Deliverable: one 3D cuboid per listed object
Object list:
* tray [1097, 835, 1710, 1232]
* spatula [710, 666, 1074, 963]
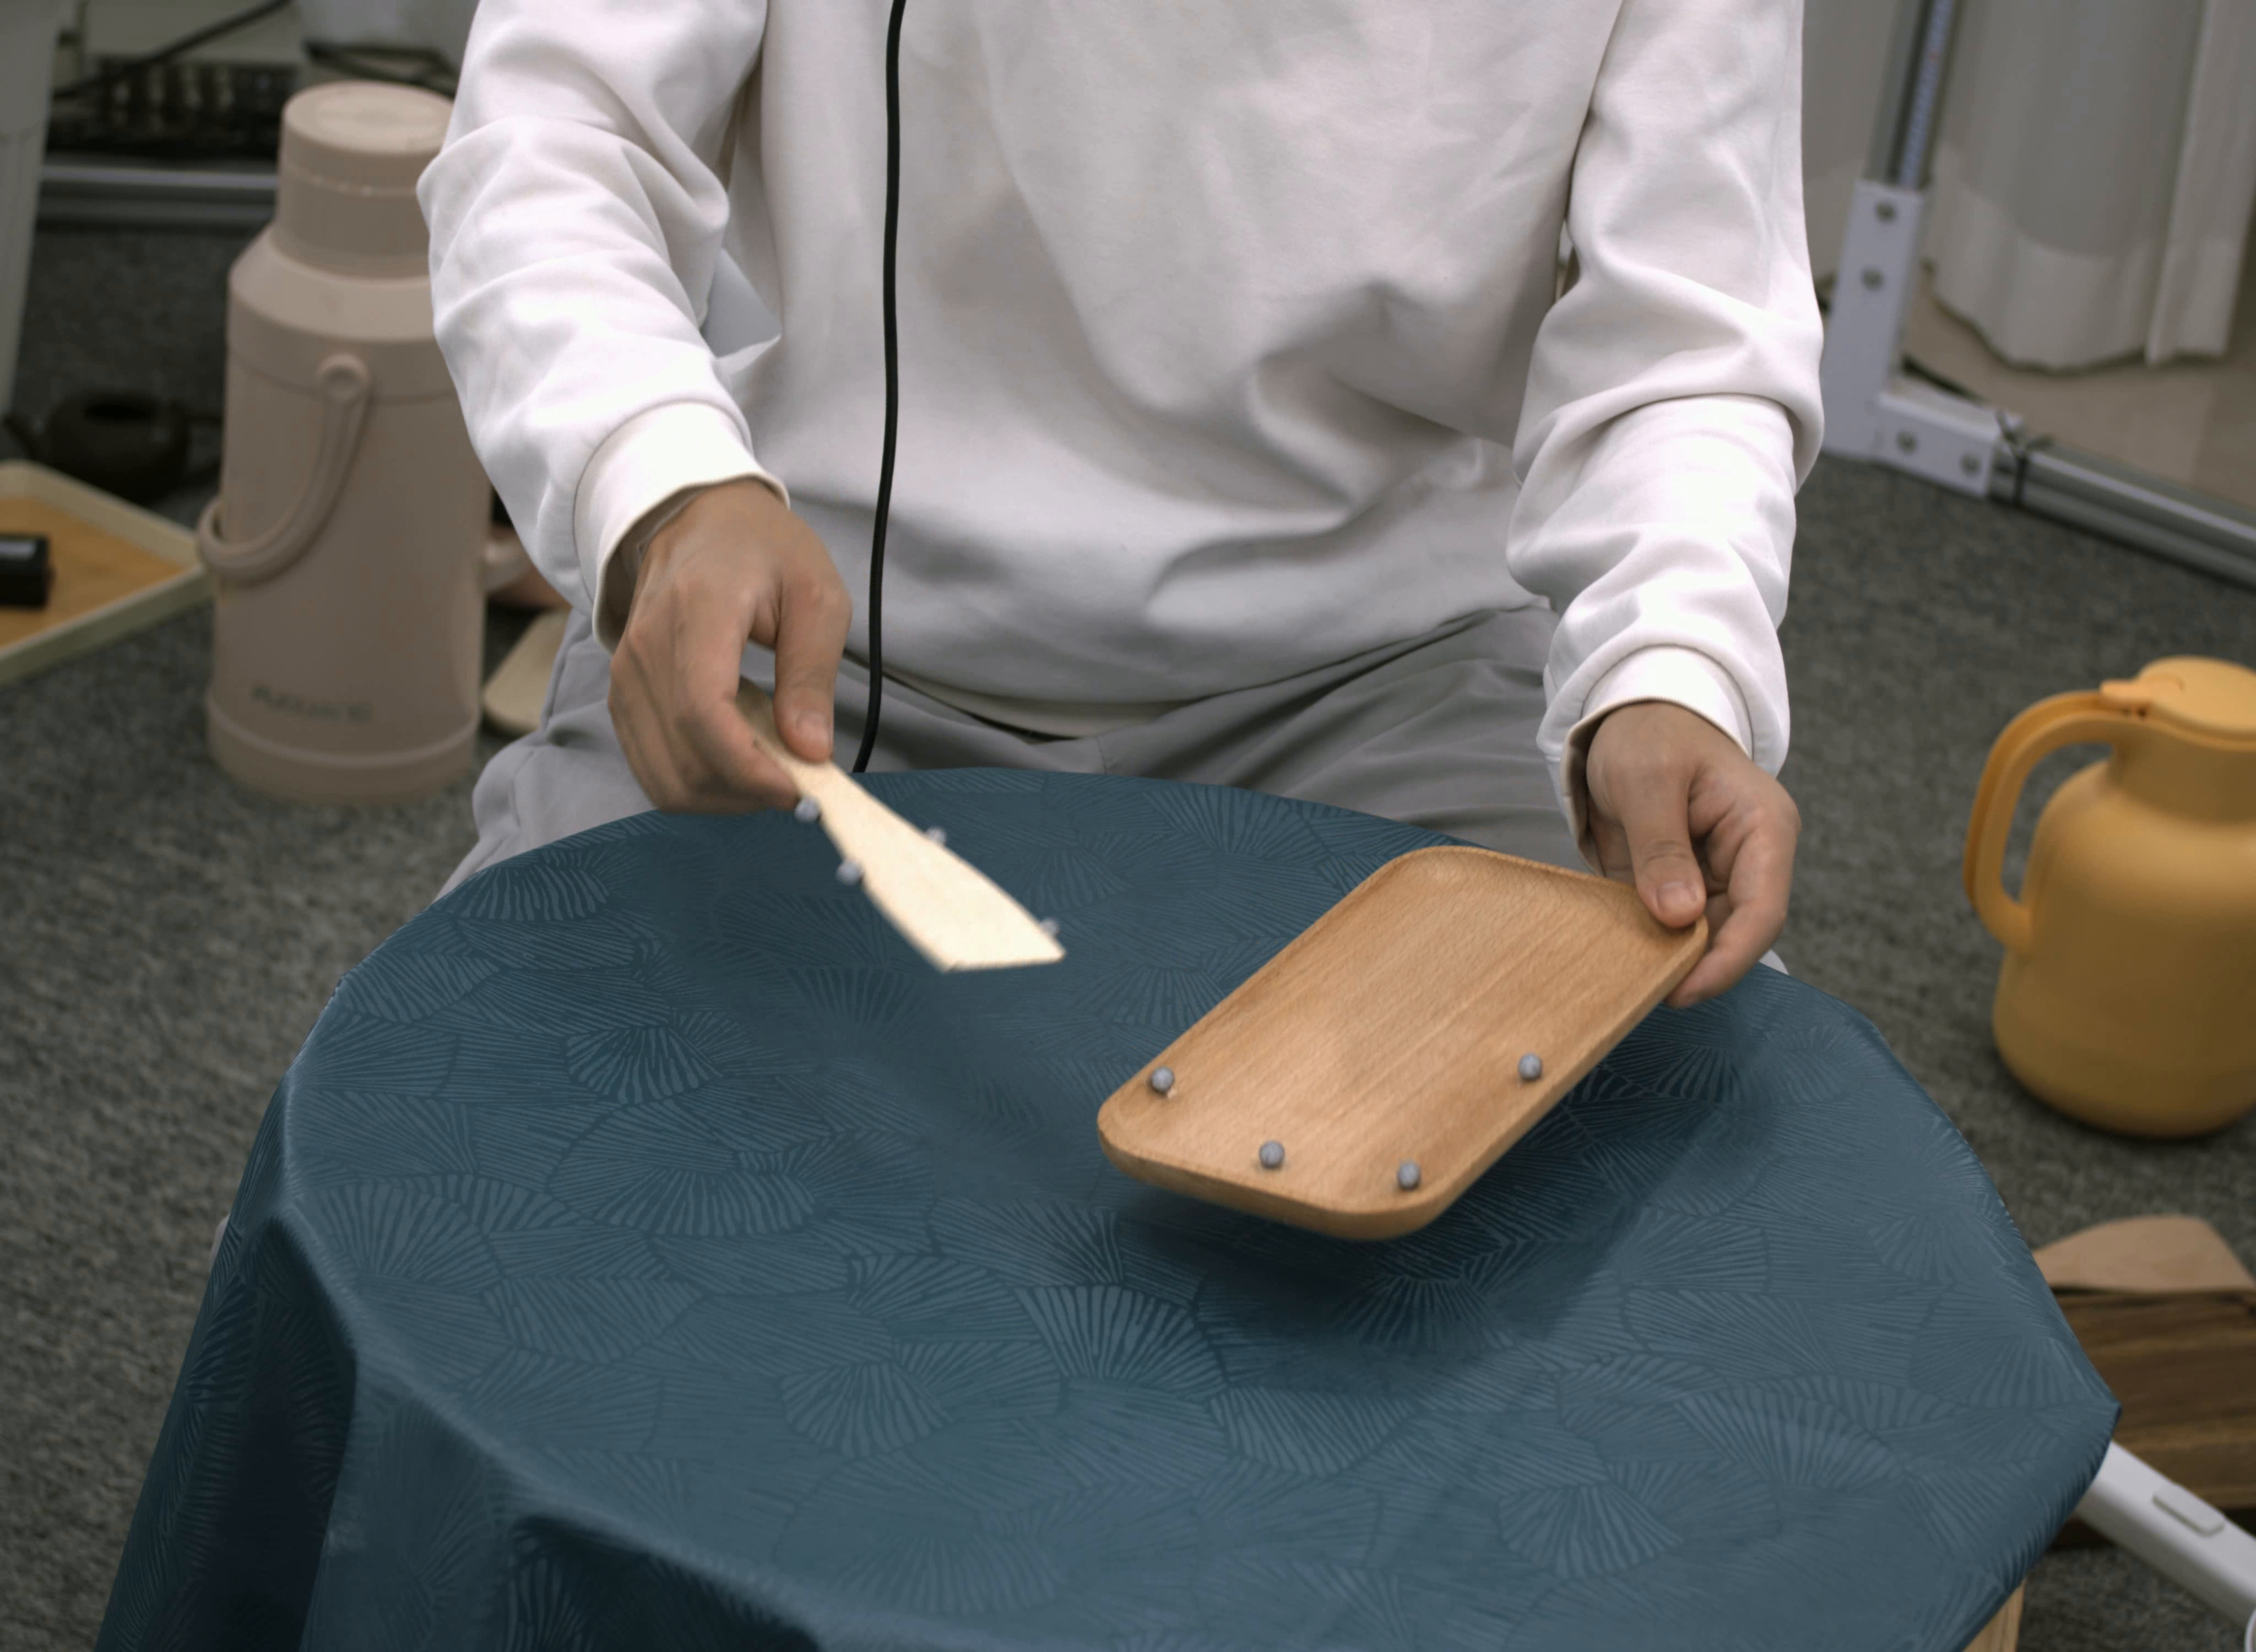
[{"bbox_3d":[0.097,0.068,1.822,0.131,0.023,0.250,16,31,27],"label":"tray"},{"bbox_3d":[-0.089,-0.005,1.835,0.050,0.005,0.210,1,28,-37],"label":"spatula"}]
